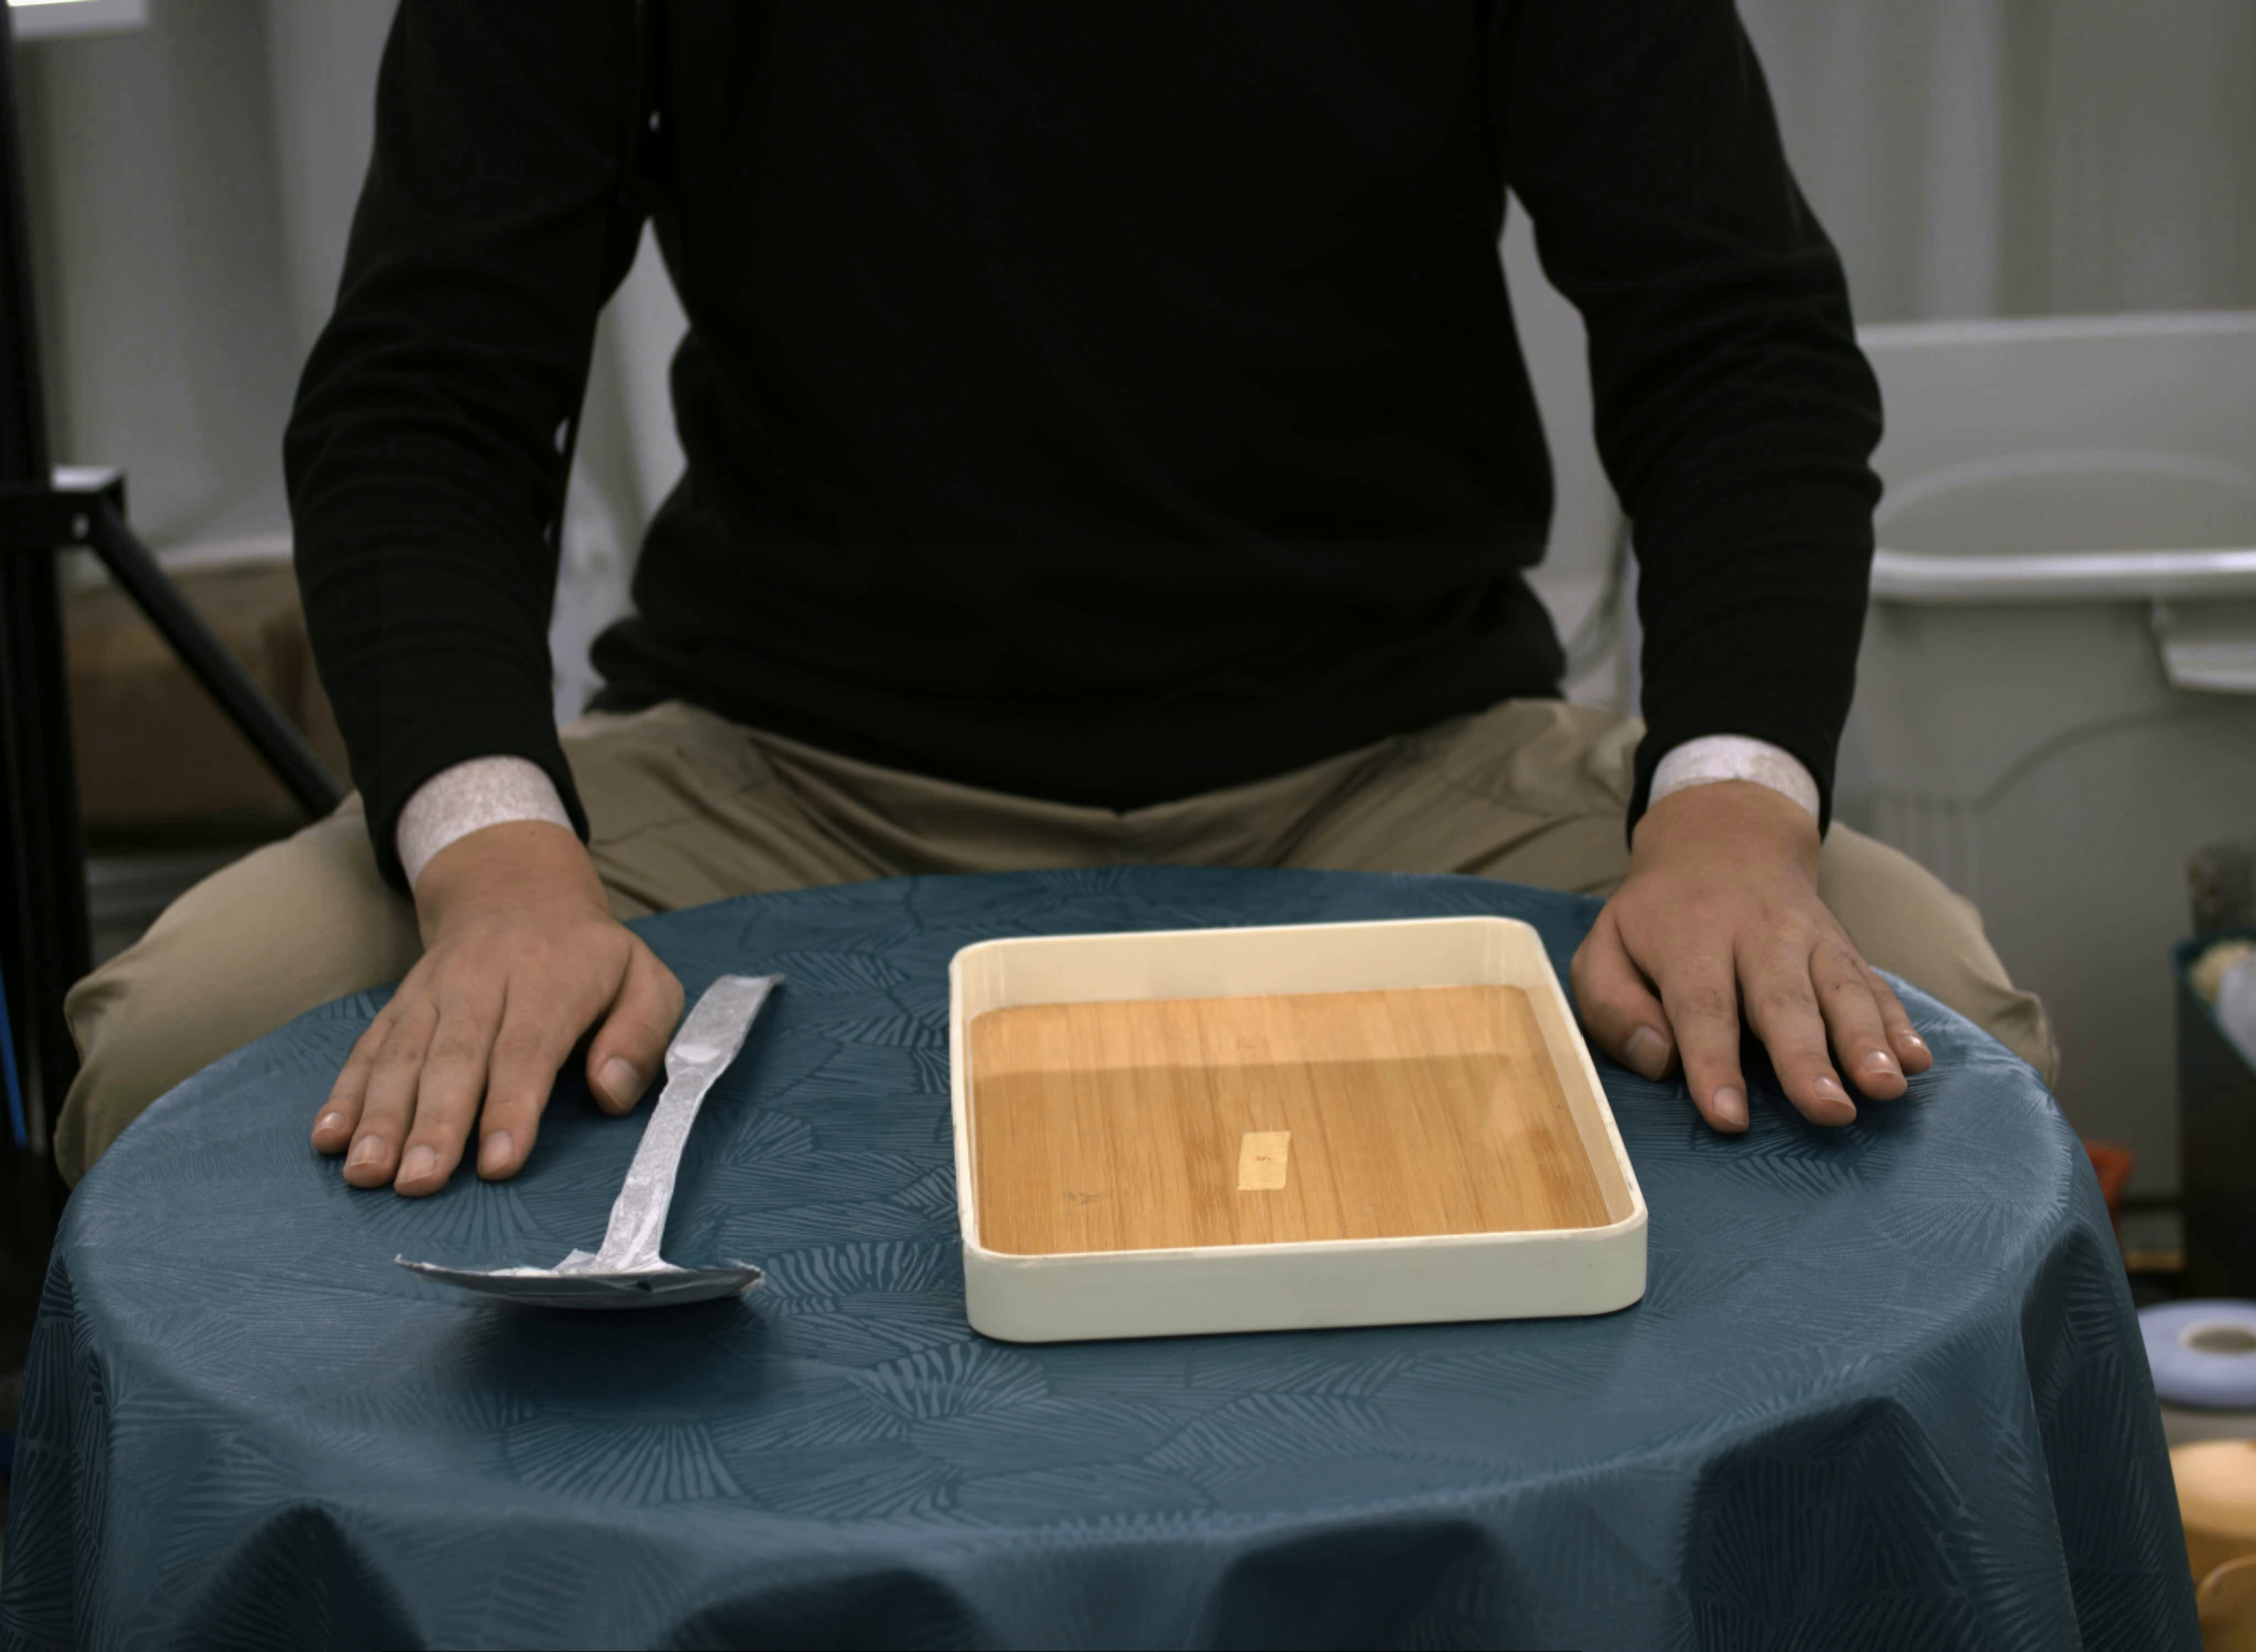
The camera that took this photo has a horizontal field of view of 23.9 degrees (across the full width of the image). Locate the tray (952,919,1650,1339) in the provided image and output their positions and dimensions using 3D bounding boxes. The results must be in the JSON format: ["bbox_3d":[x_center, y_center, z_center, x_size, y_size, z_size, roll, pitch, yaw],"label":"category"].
[{"bbox_3d":[0.044,0.086,1.579,0.190,0.027,0.302,-3,16,-1],"label":"tray"}]

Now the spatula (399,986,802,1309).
[{"bbox_3d":[-0.134,0.086,1.585,0.099,0.045,0.365,-2,16,5],"label":"spatula"}]
